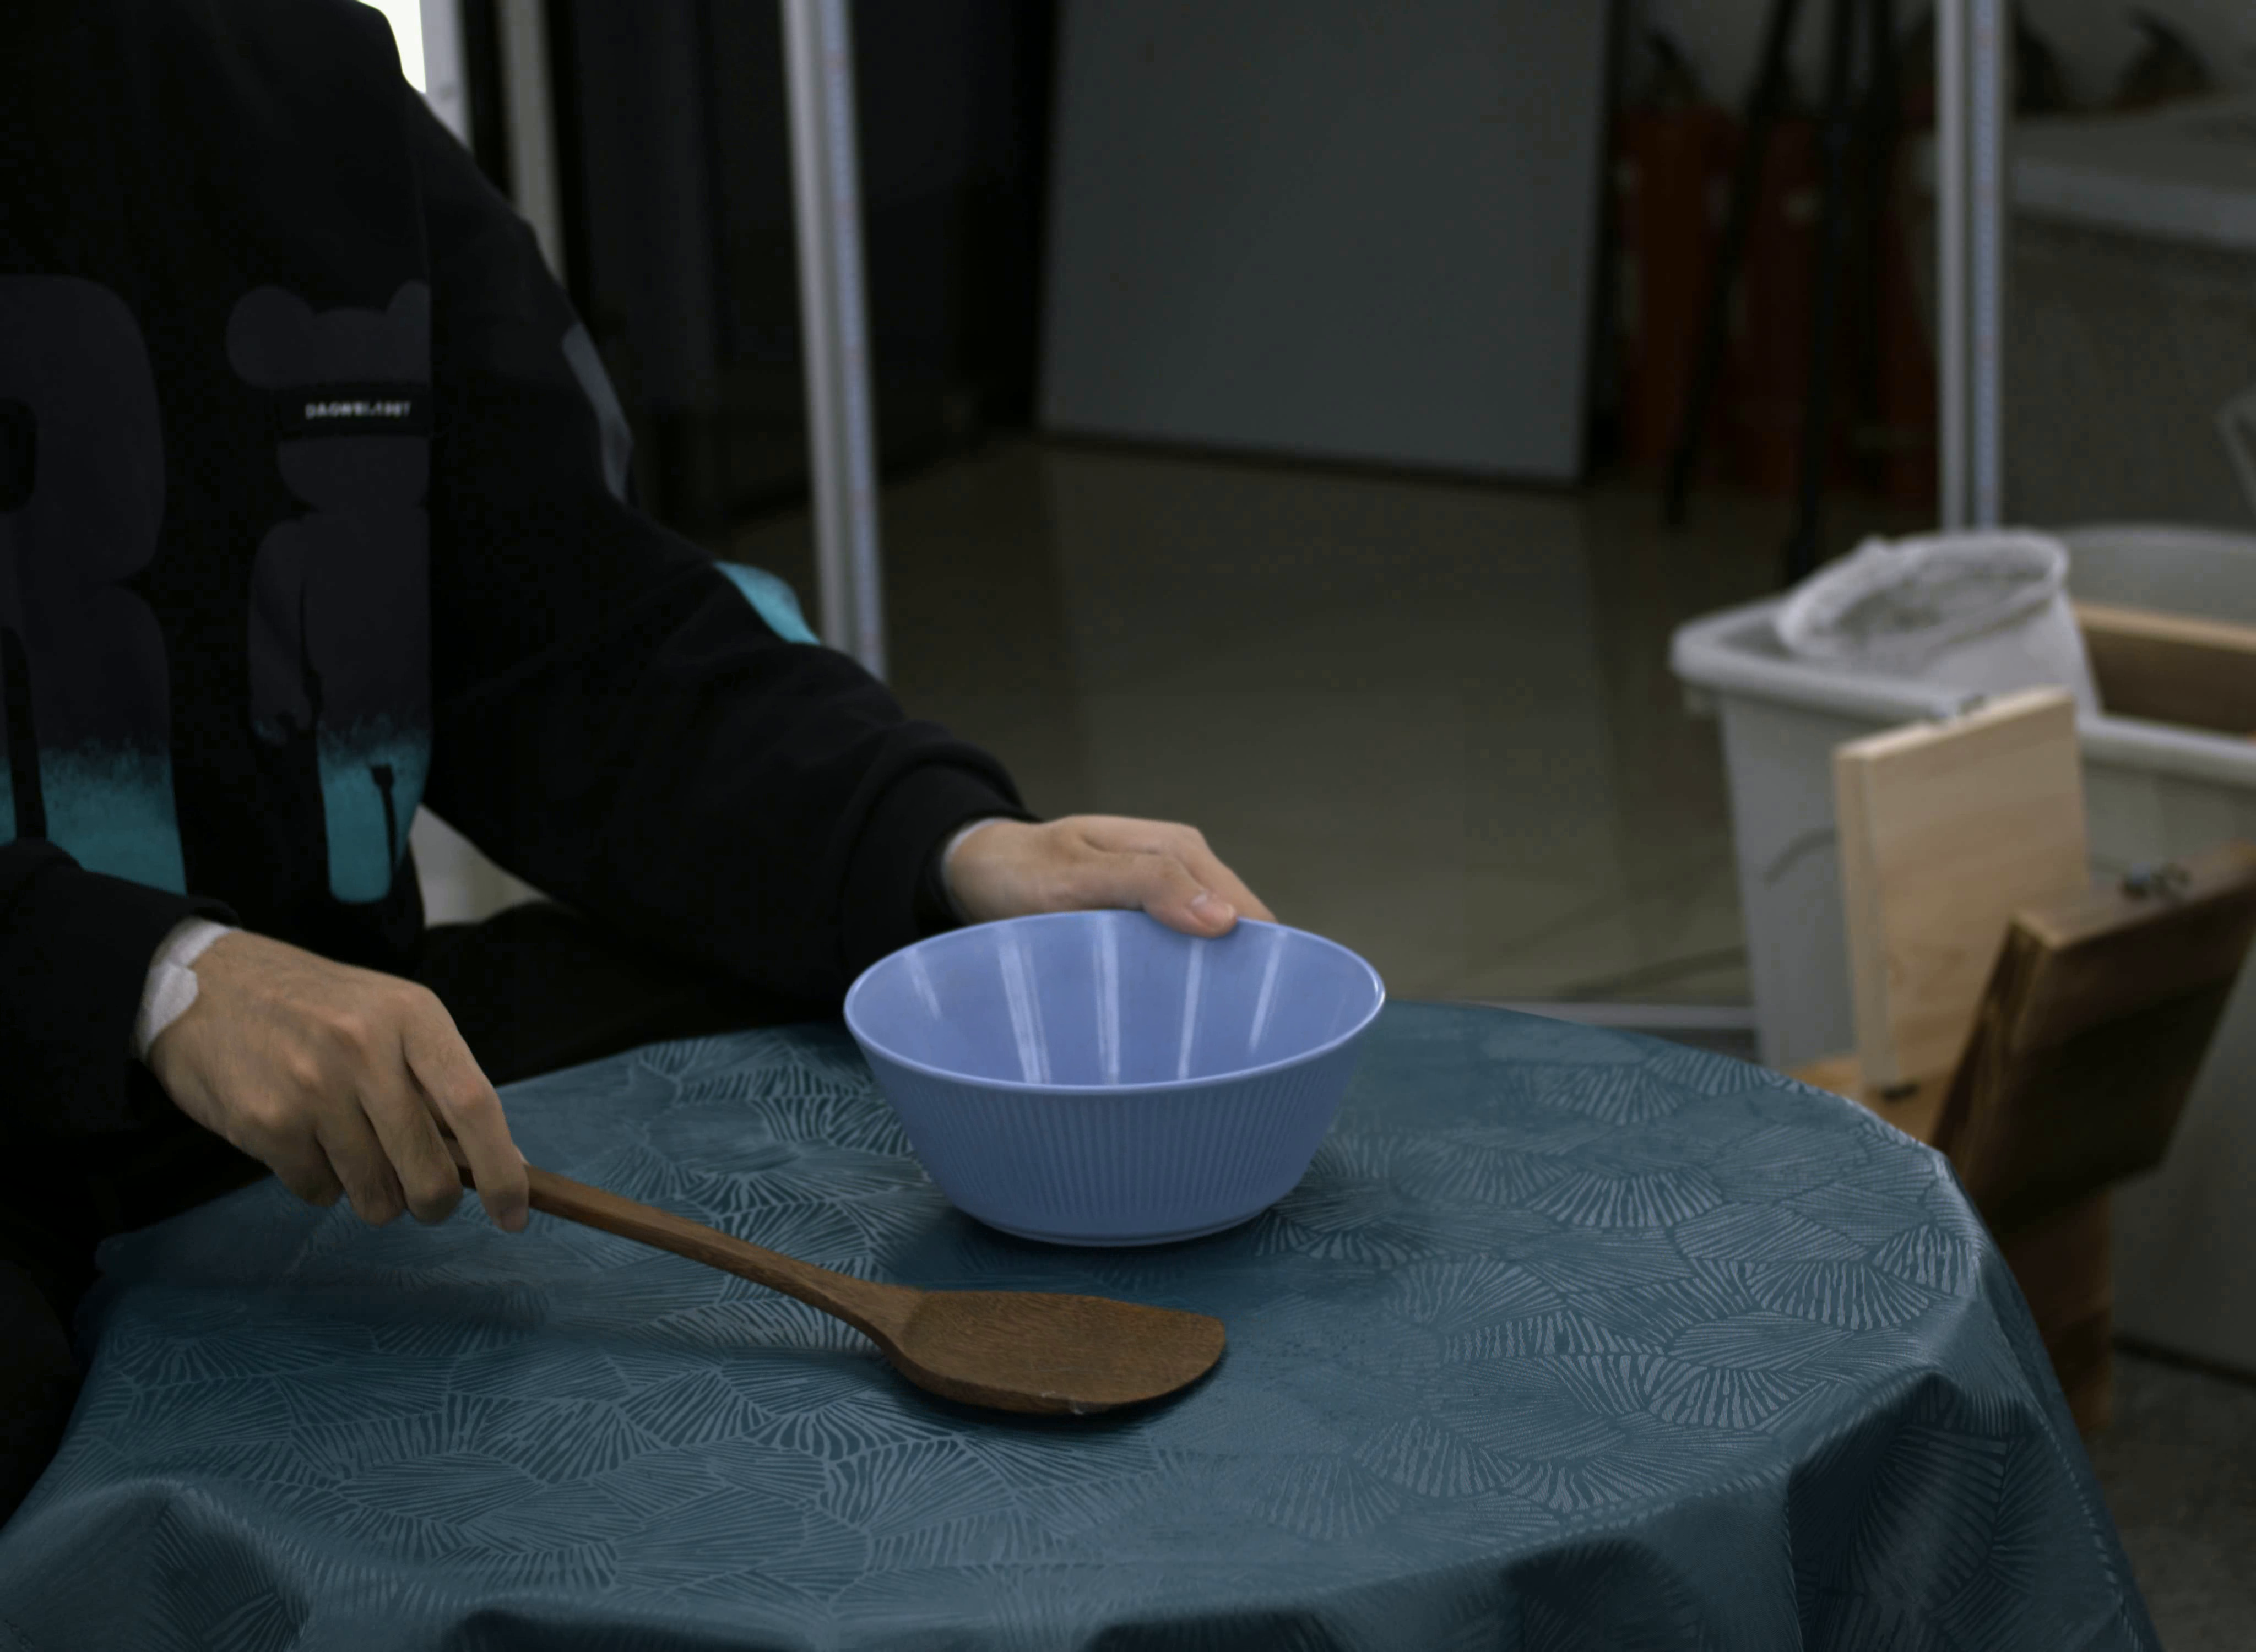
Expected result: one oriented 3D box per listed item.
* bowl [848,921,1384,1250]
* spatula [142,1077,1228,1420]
[{"bbox_3d":[-0.003,0.087,1.745,0.174,0.071,0.176,-3,15,0],"label":"bowl"},{"bbox_3d":[-0.148,0.126,1.666,0.387,0.016,0.094,14,18,26],"label":"spatula"}]
